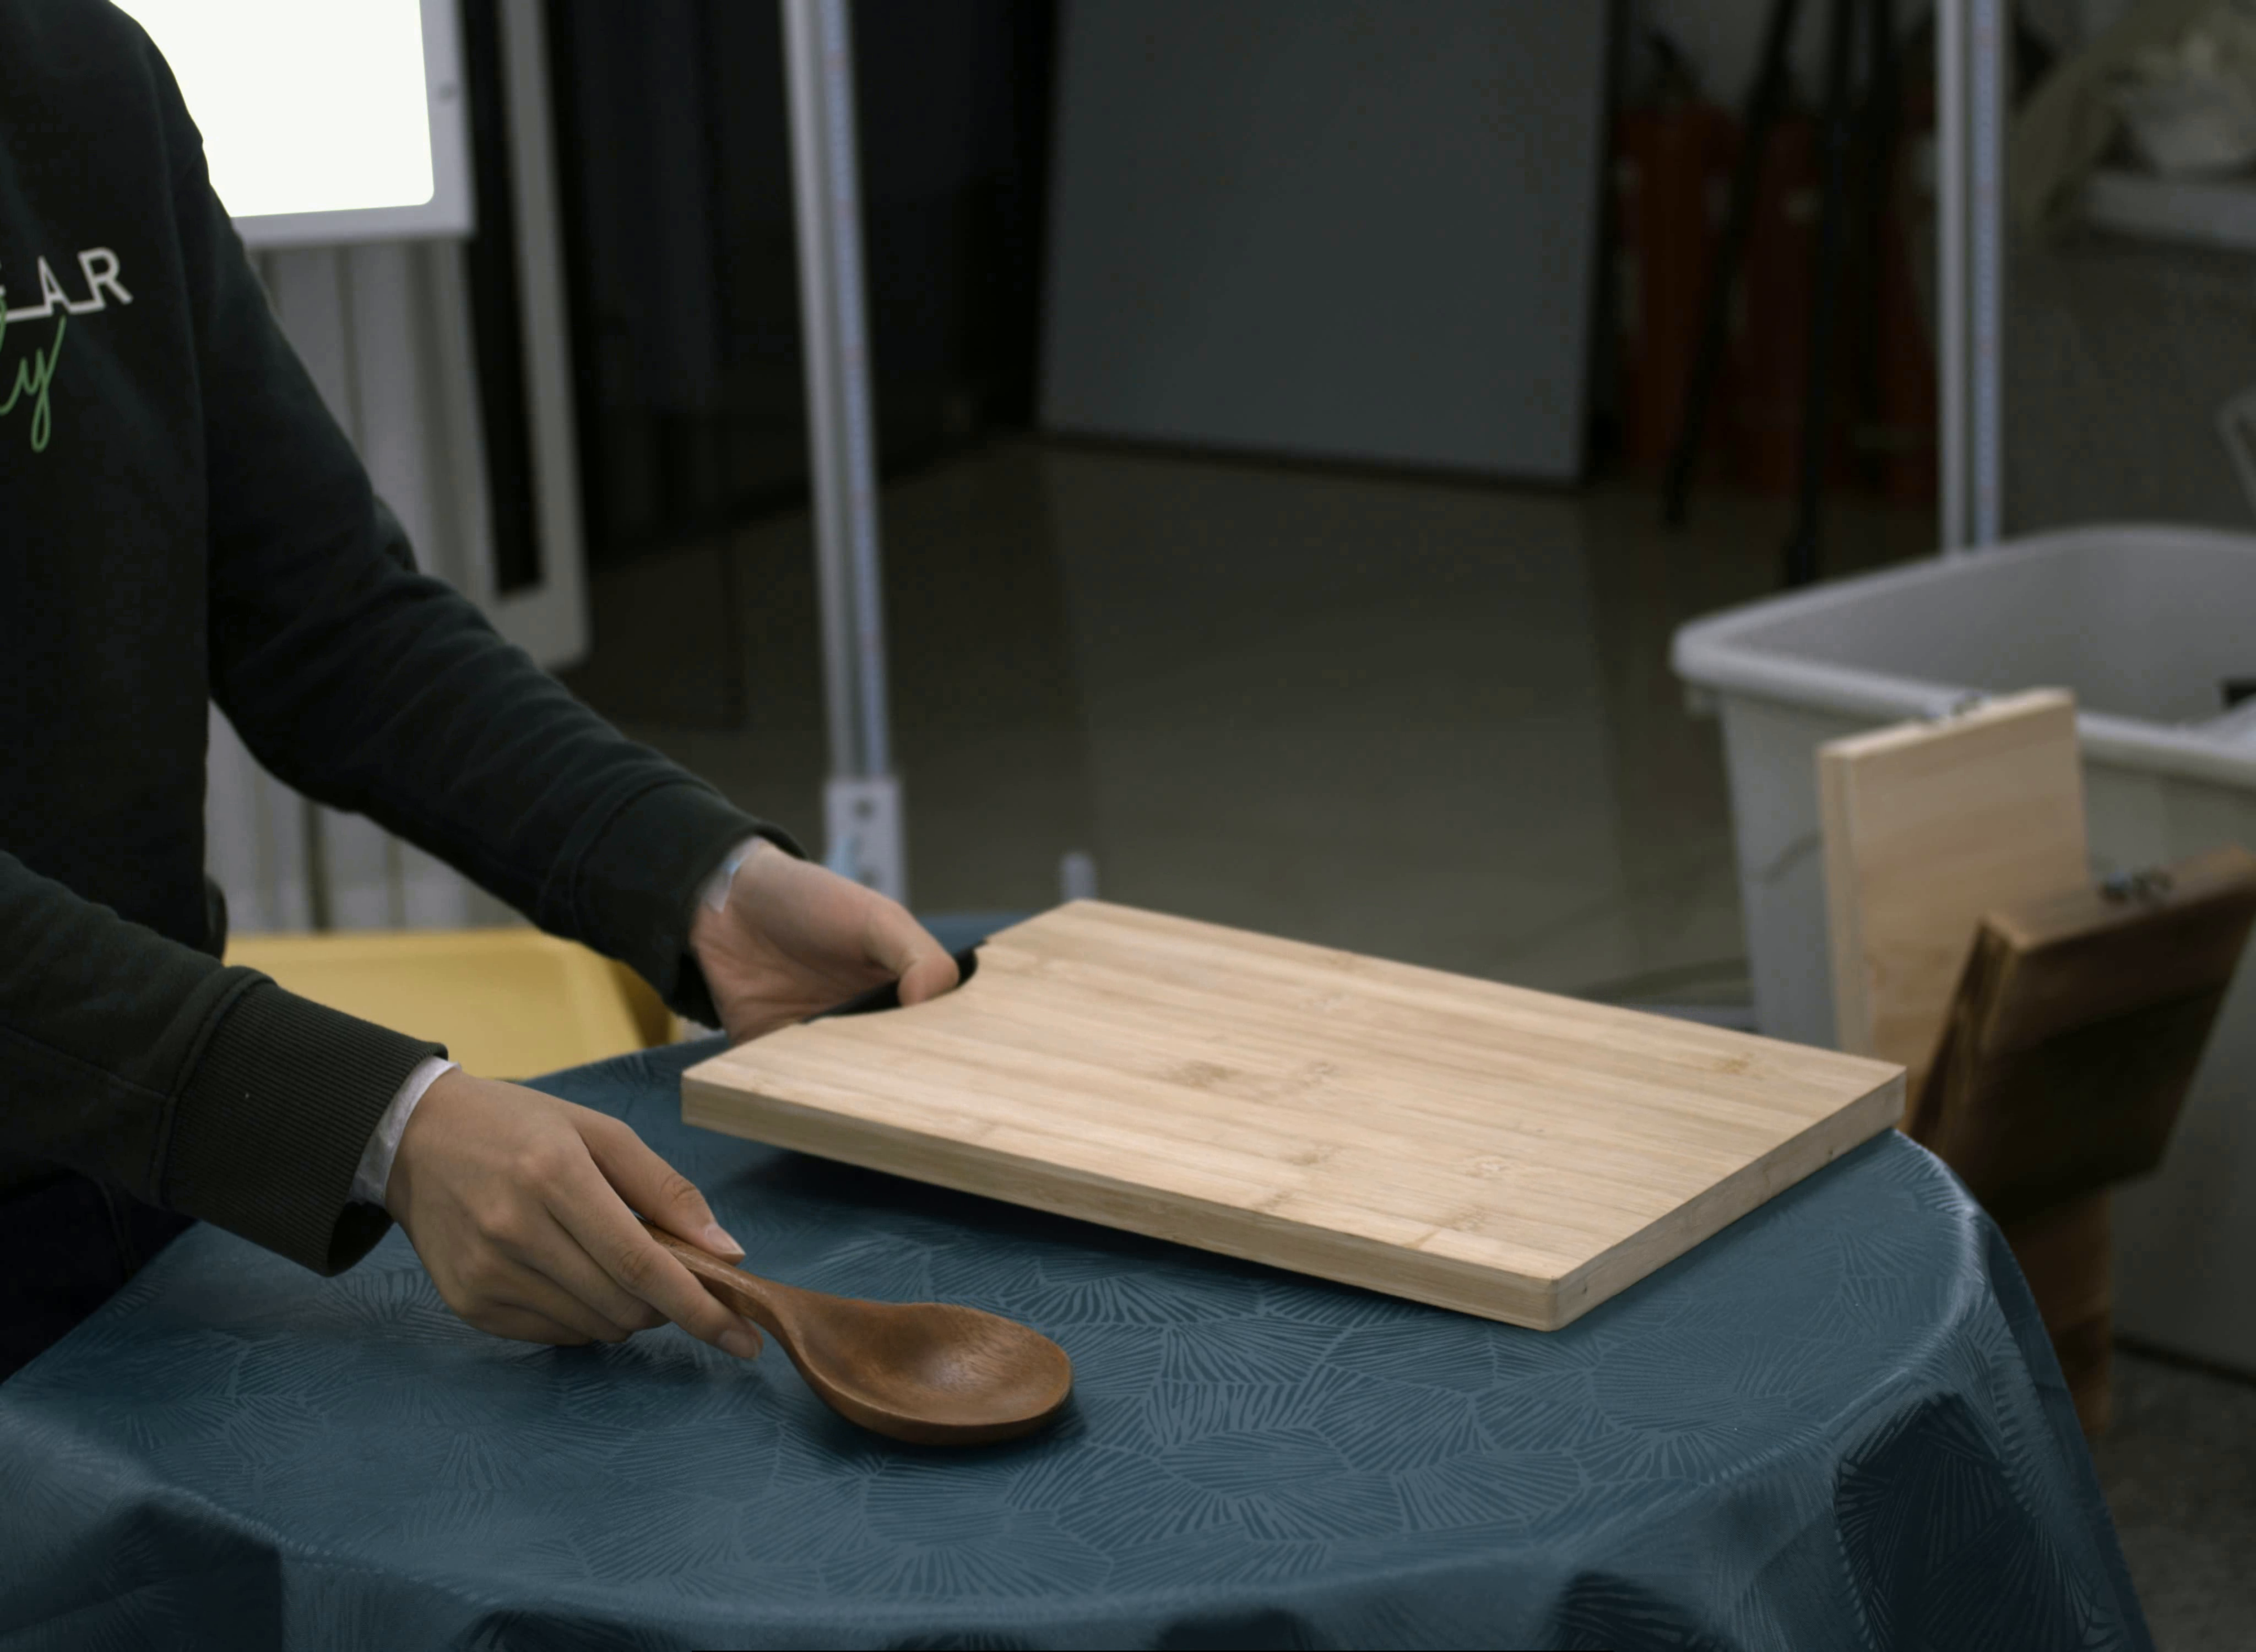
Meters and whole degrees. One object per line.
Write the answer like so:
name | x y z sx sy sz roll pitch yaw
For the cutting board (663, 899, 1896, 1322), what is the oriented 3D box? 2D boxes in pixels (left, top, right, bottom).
cutting board | 0.050 0.089 1.800 0.350 0.024 0.246 10 19 33

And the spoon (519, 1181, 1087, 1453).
spoon | -0.102 0.146 1.612 0.217 0.017 0.074 20 29 37
